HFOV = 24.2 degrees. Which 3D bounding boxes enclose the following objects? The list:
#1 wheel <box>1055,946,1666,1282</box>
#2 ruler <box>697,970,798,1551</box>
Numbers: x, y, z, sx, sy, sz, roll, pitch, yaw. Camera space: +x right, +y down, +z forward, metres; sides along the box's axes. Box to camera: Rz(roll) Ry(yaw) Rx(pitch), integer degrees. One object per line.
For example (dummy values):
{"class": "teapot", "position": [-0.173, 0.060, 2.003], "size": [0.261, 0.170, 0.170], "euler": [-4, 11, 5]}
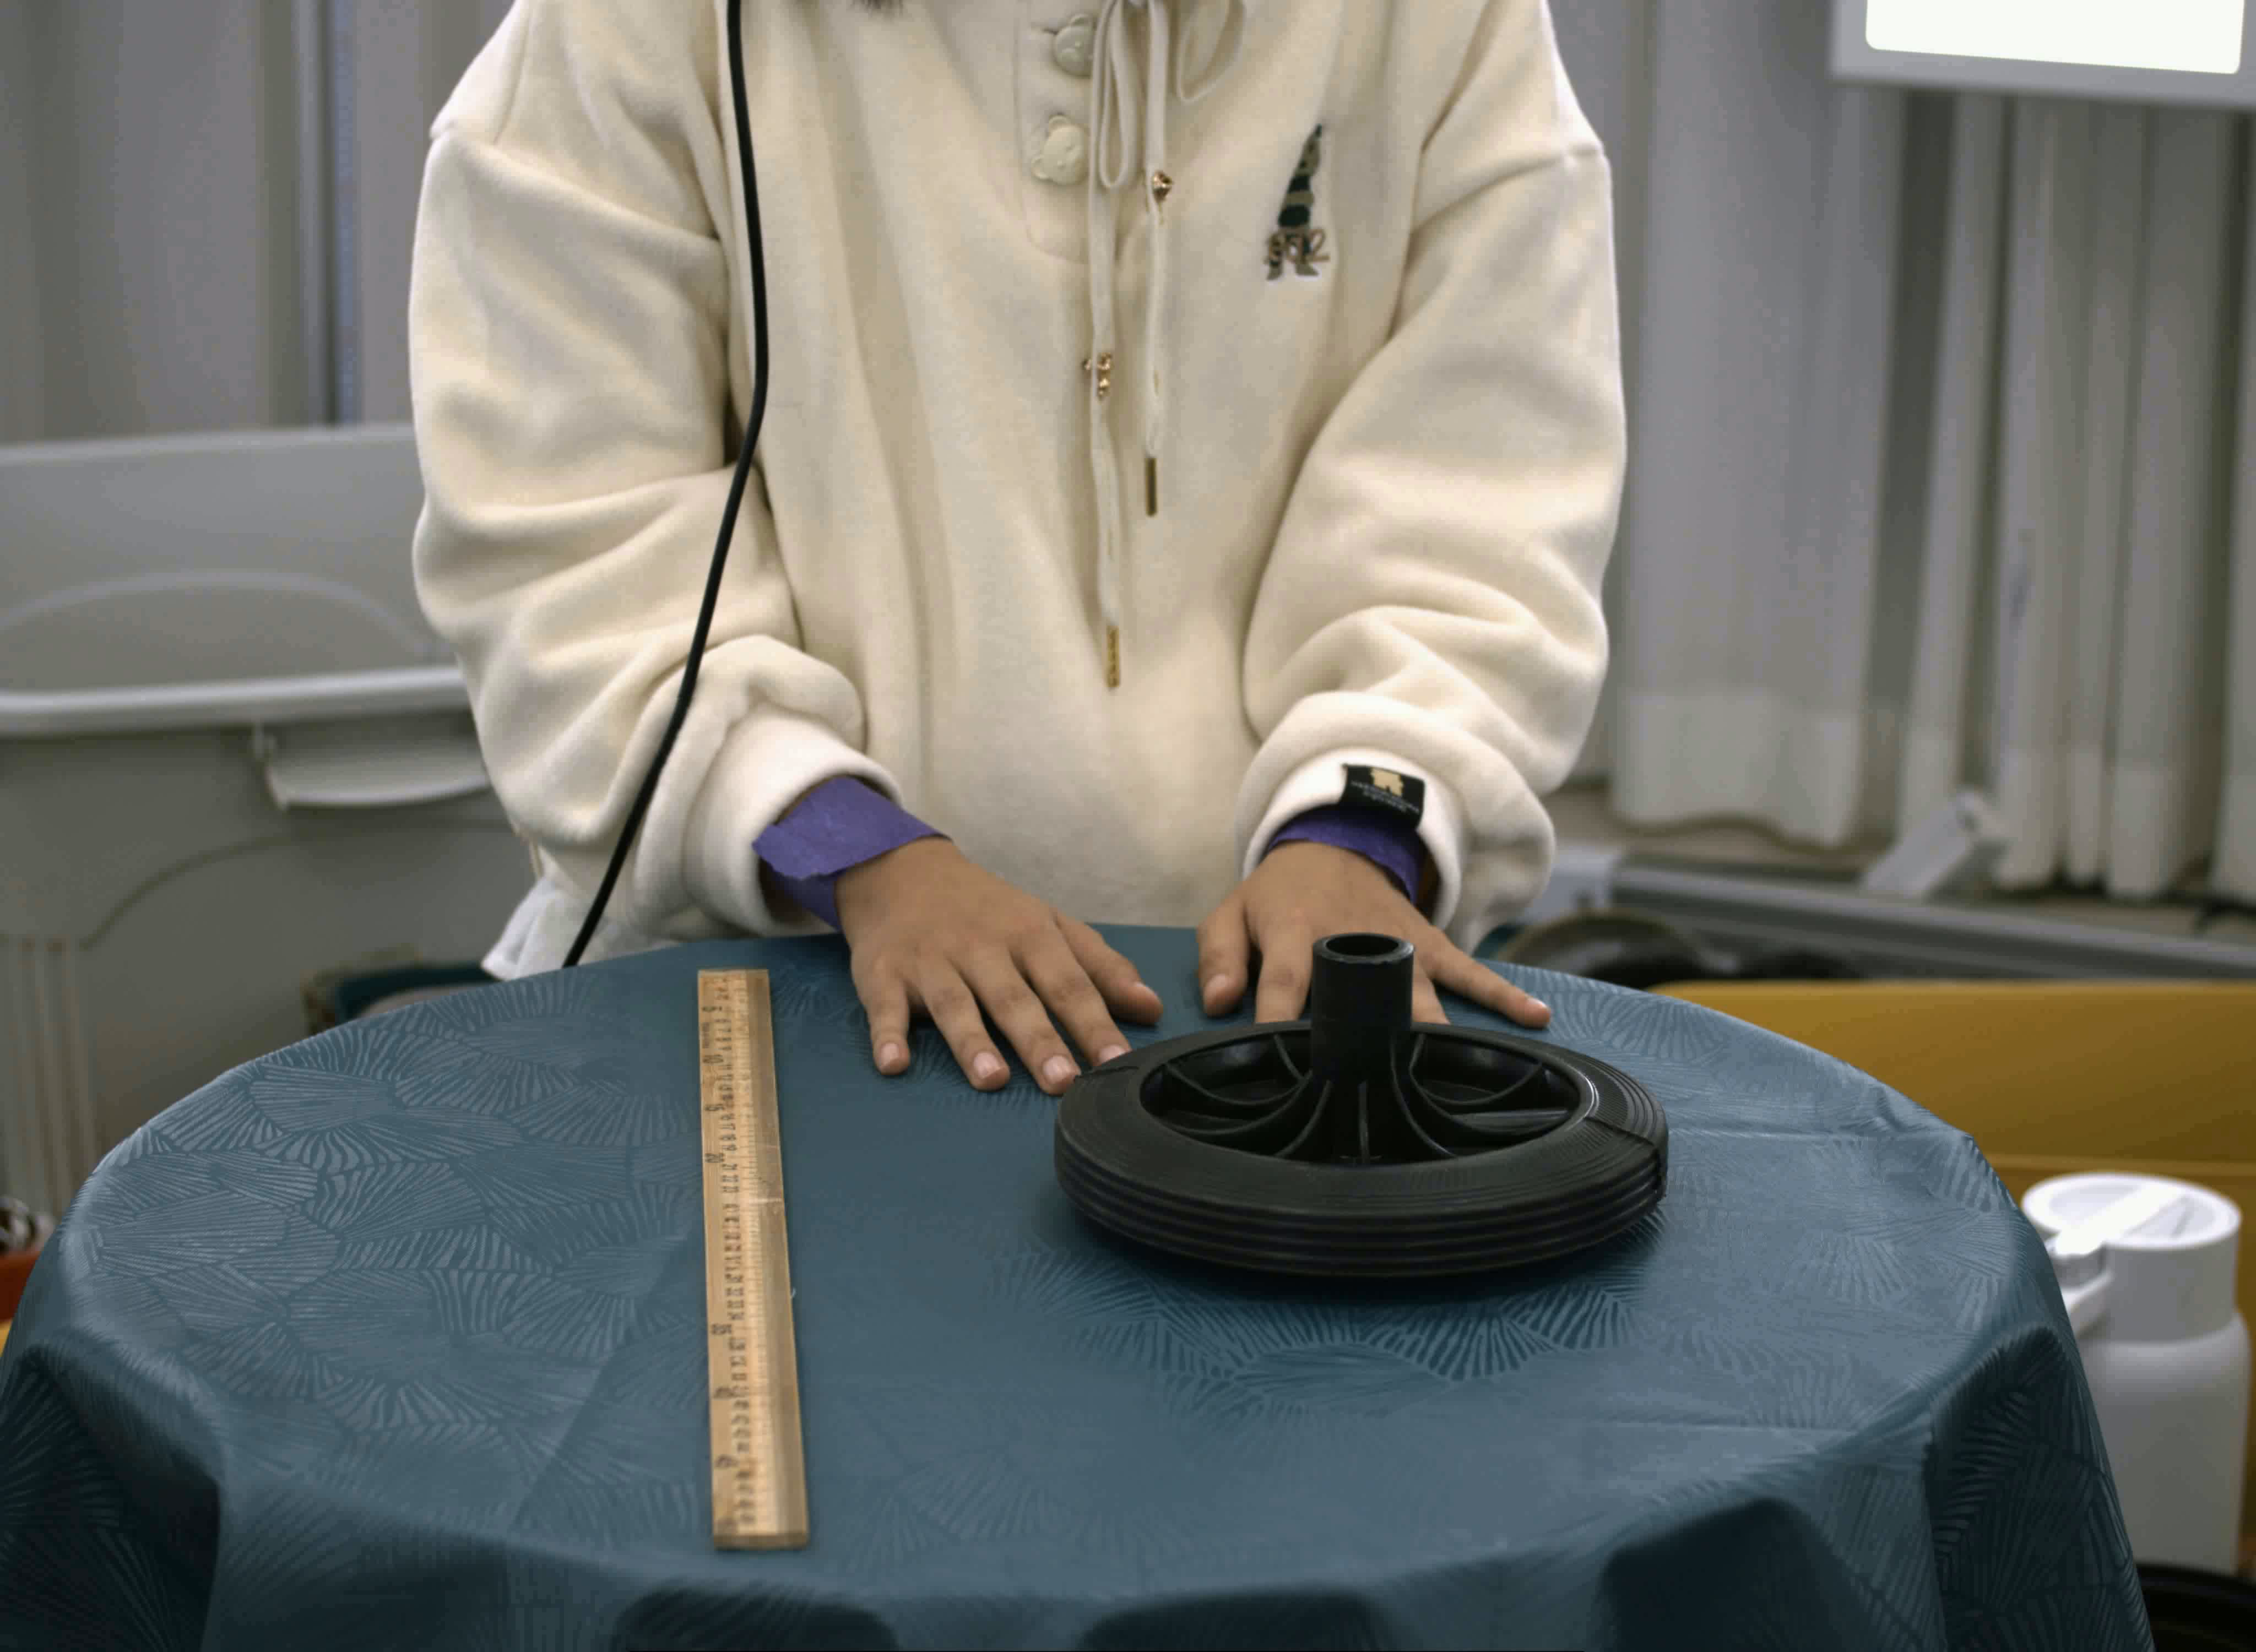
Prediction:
{"class": "wheel", "position": [0.072, 0.078, 1.602], "size": [0.191, 0.080, 0.185], "euler": [-10, 19, -33]}
{"class": "ruler", "position": [-0.116, 0.118, 1.588], "size": [0.027, 0.006, 0.497], "euler": [-1, 16, -4]}
